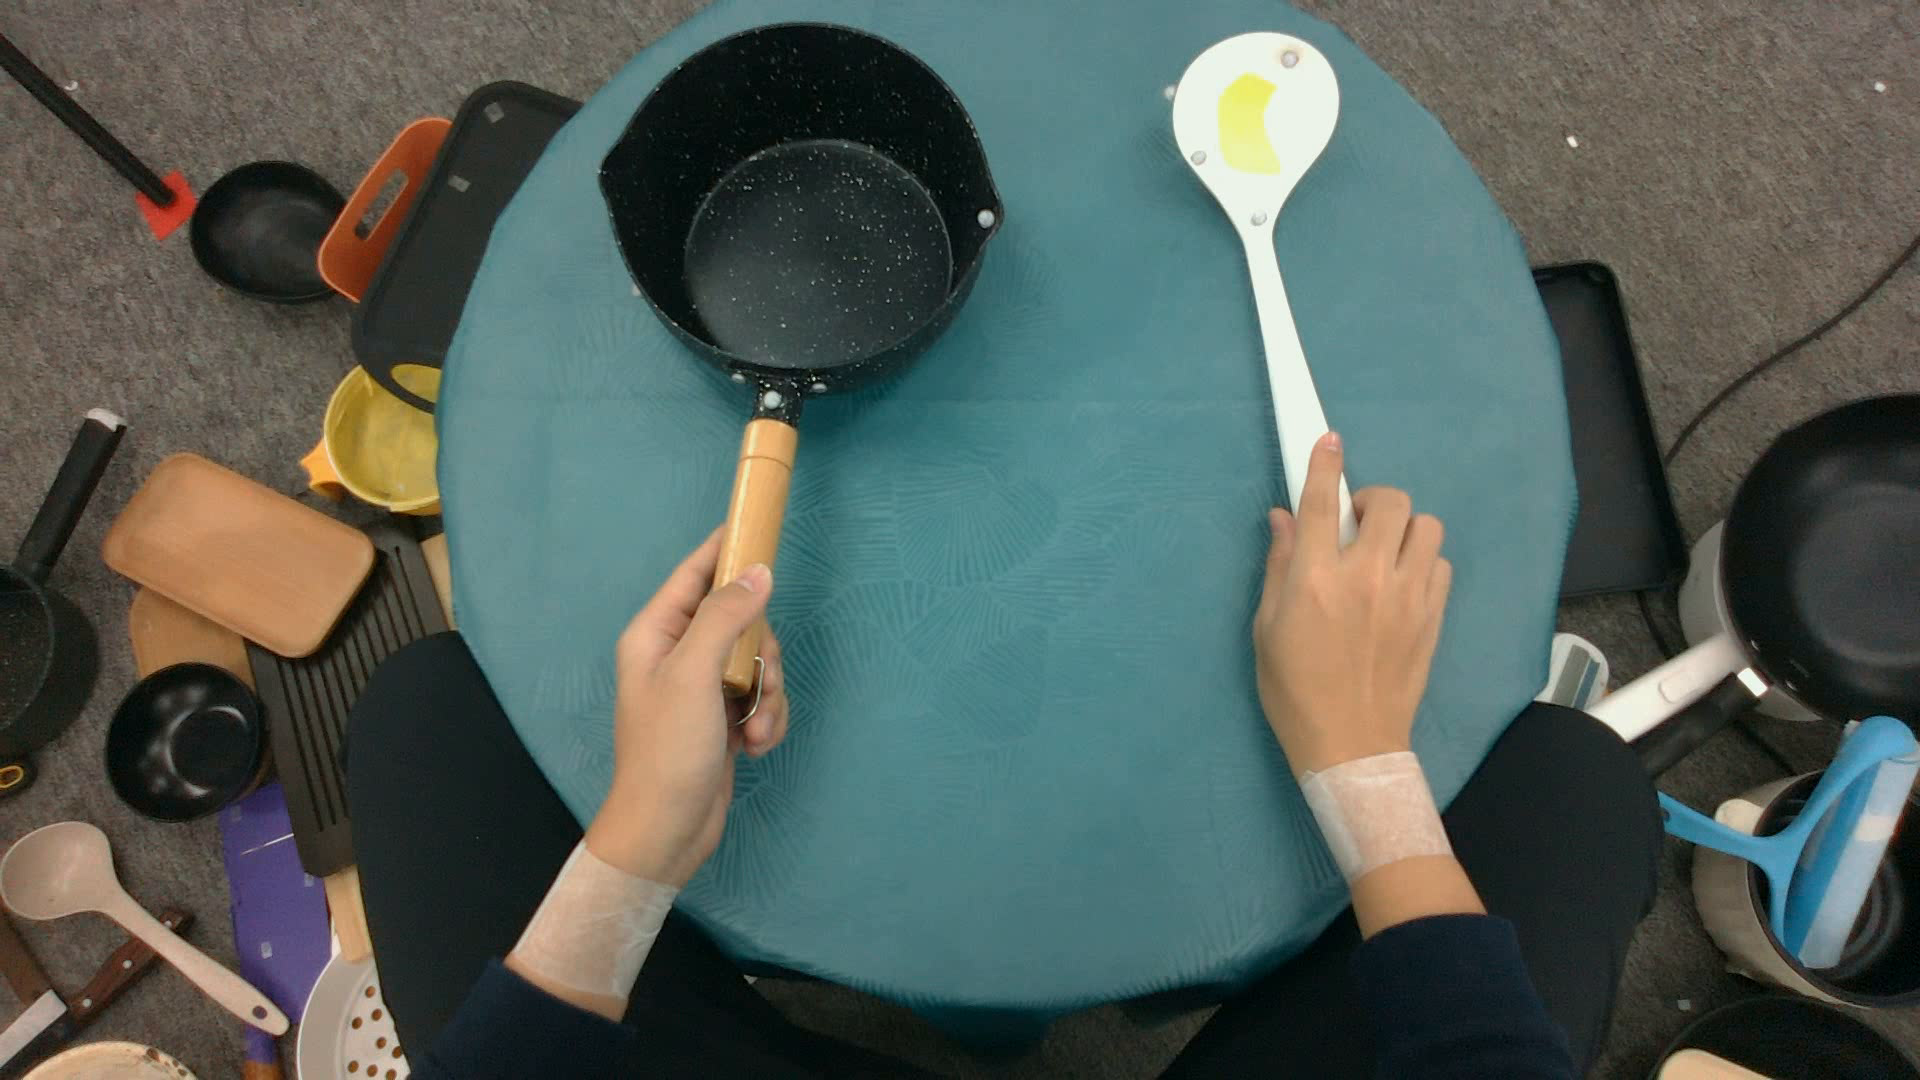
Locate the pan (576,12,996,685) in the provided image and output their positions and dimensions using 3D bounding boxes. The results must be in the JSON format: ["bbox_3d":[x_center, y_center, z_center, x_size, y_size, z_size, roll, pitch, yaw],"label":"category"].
[{"bbox_3d":[-0.092,-0.092,0.681,0.207,0.108,0.343,5,75,0],"label":"pan"}]

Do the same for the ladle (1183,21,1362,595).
[{"bbox_3d":[0.173,-0.121,0.715,0.090,0.069,0.293,-4,76,-16],"label":"ladle"}]
